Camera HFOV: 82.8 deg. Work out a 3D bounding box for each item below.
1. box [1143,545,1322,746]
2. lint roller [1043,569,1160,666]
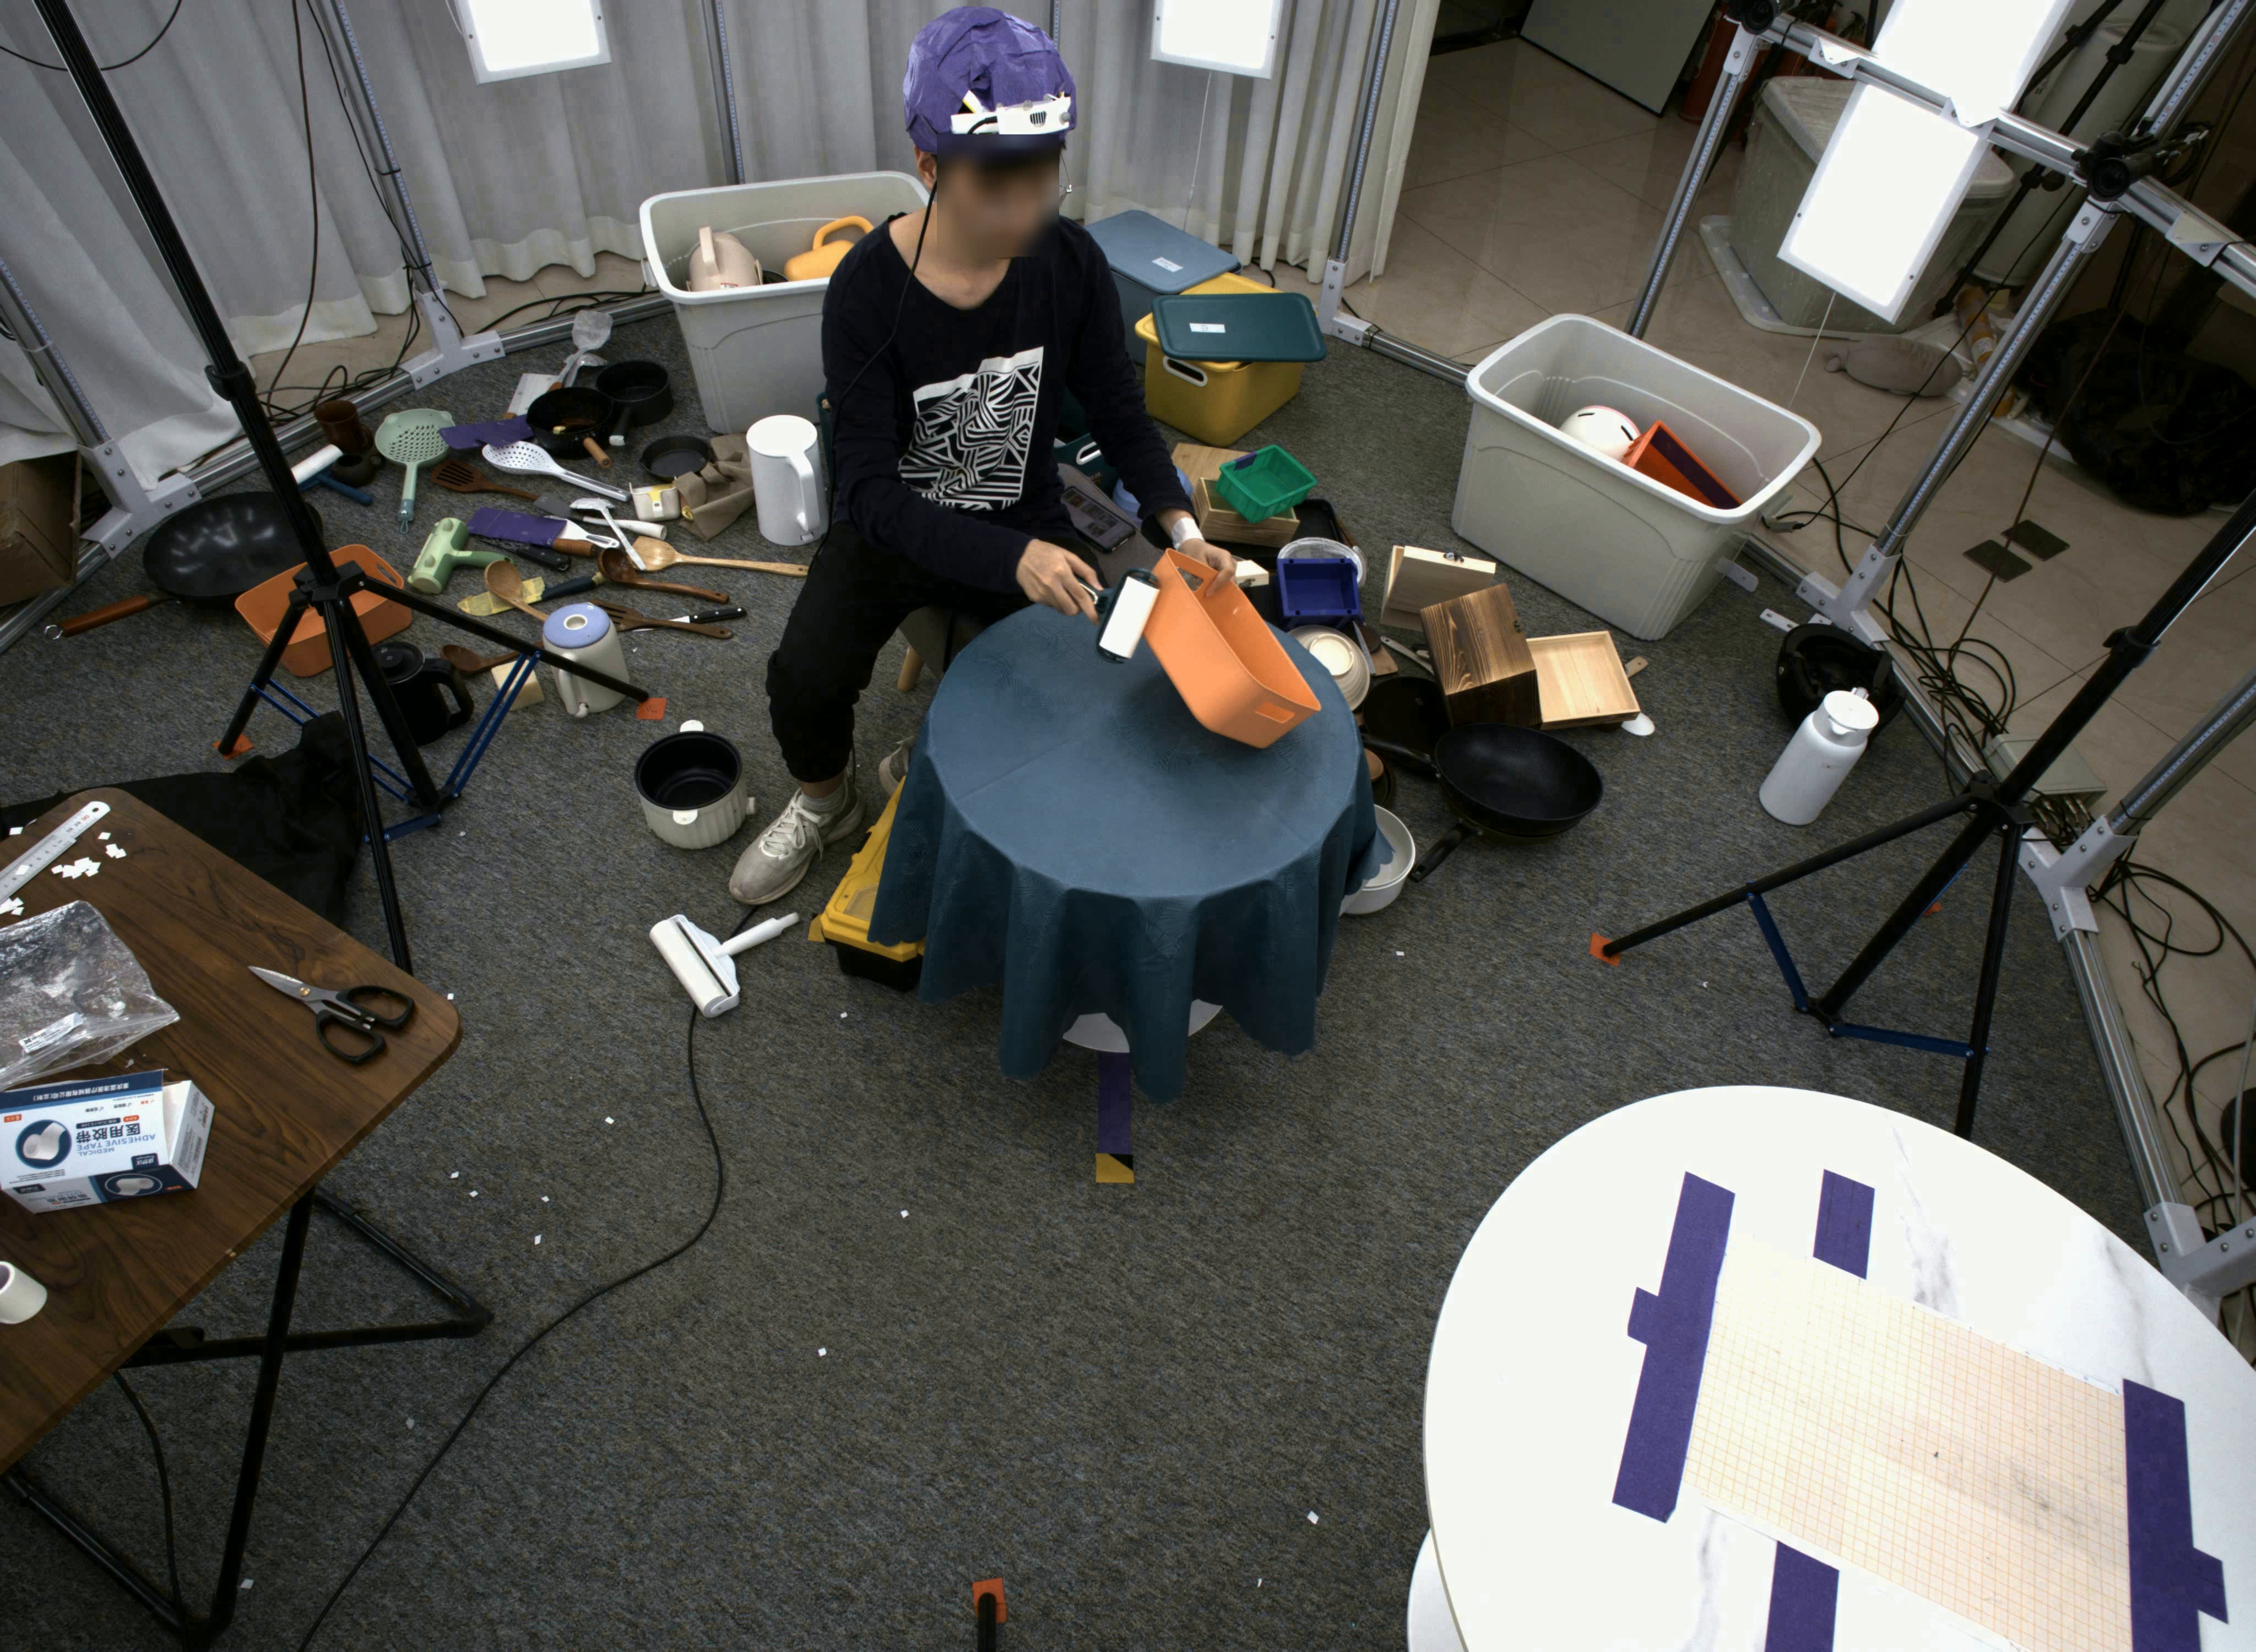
[{"bbox_3d":[0.124,-0.239,1.749,0.197,0.101,0.279,14,39,-52],"label":"box"},{"bbox_3d":[-0.051,-0.306,1.738,0.182,0.133,0.048,28,12,23],"label":"lint roller"}]
